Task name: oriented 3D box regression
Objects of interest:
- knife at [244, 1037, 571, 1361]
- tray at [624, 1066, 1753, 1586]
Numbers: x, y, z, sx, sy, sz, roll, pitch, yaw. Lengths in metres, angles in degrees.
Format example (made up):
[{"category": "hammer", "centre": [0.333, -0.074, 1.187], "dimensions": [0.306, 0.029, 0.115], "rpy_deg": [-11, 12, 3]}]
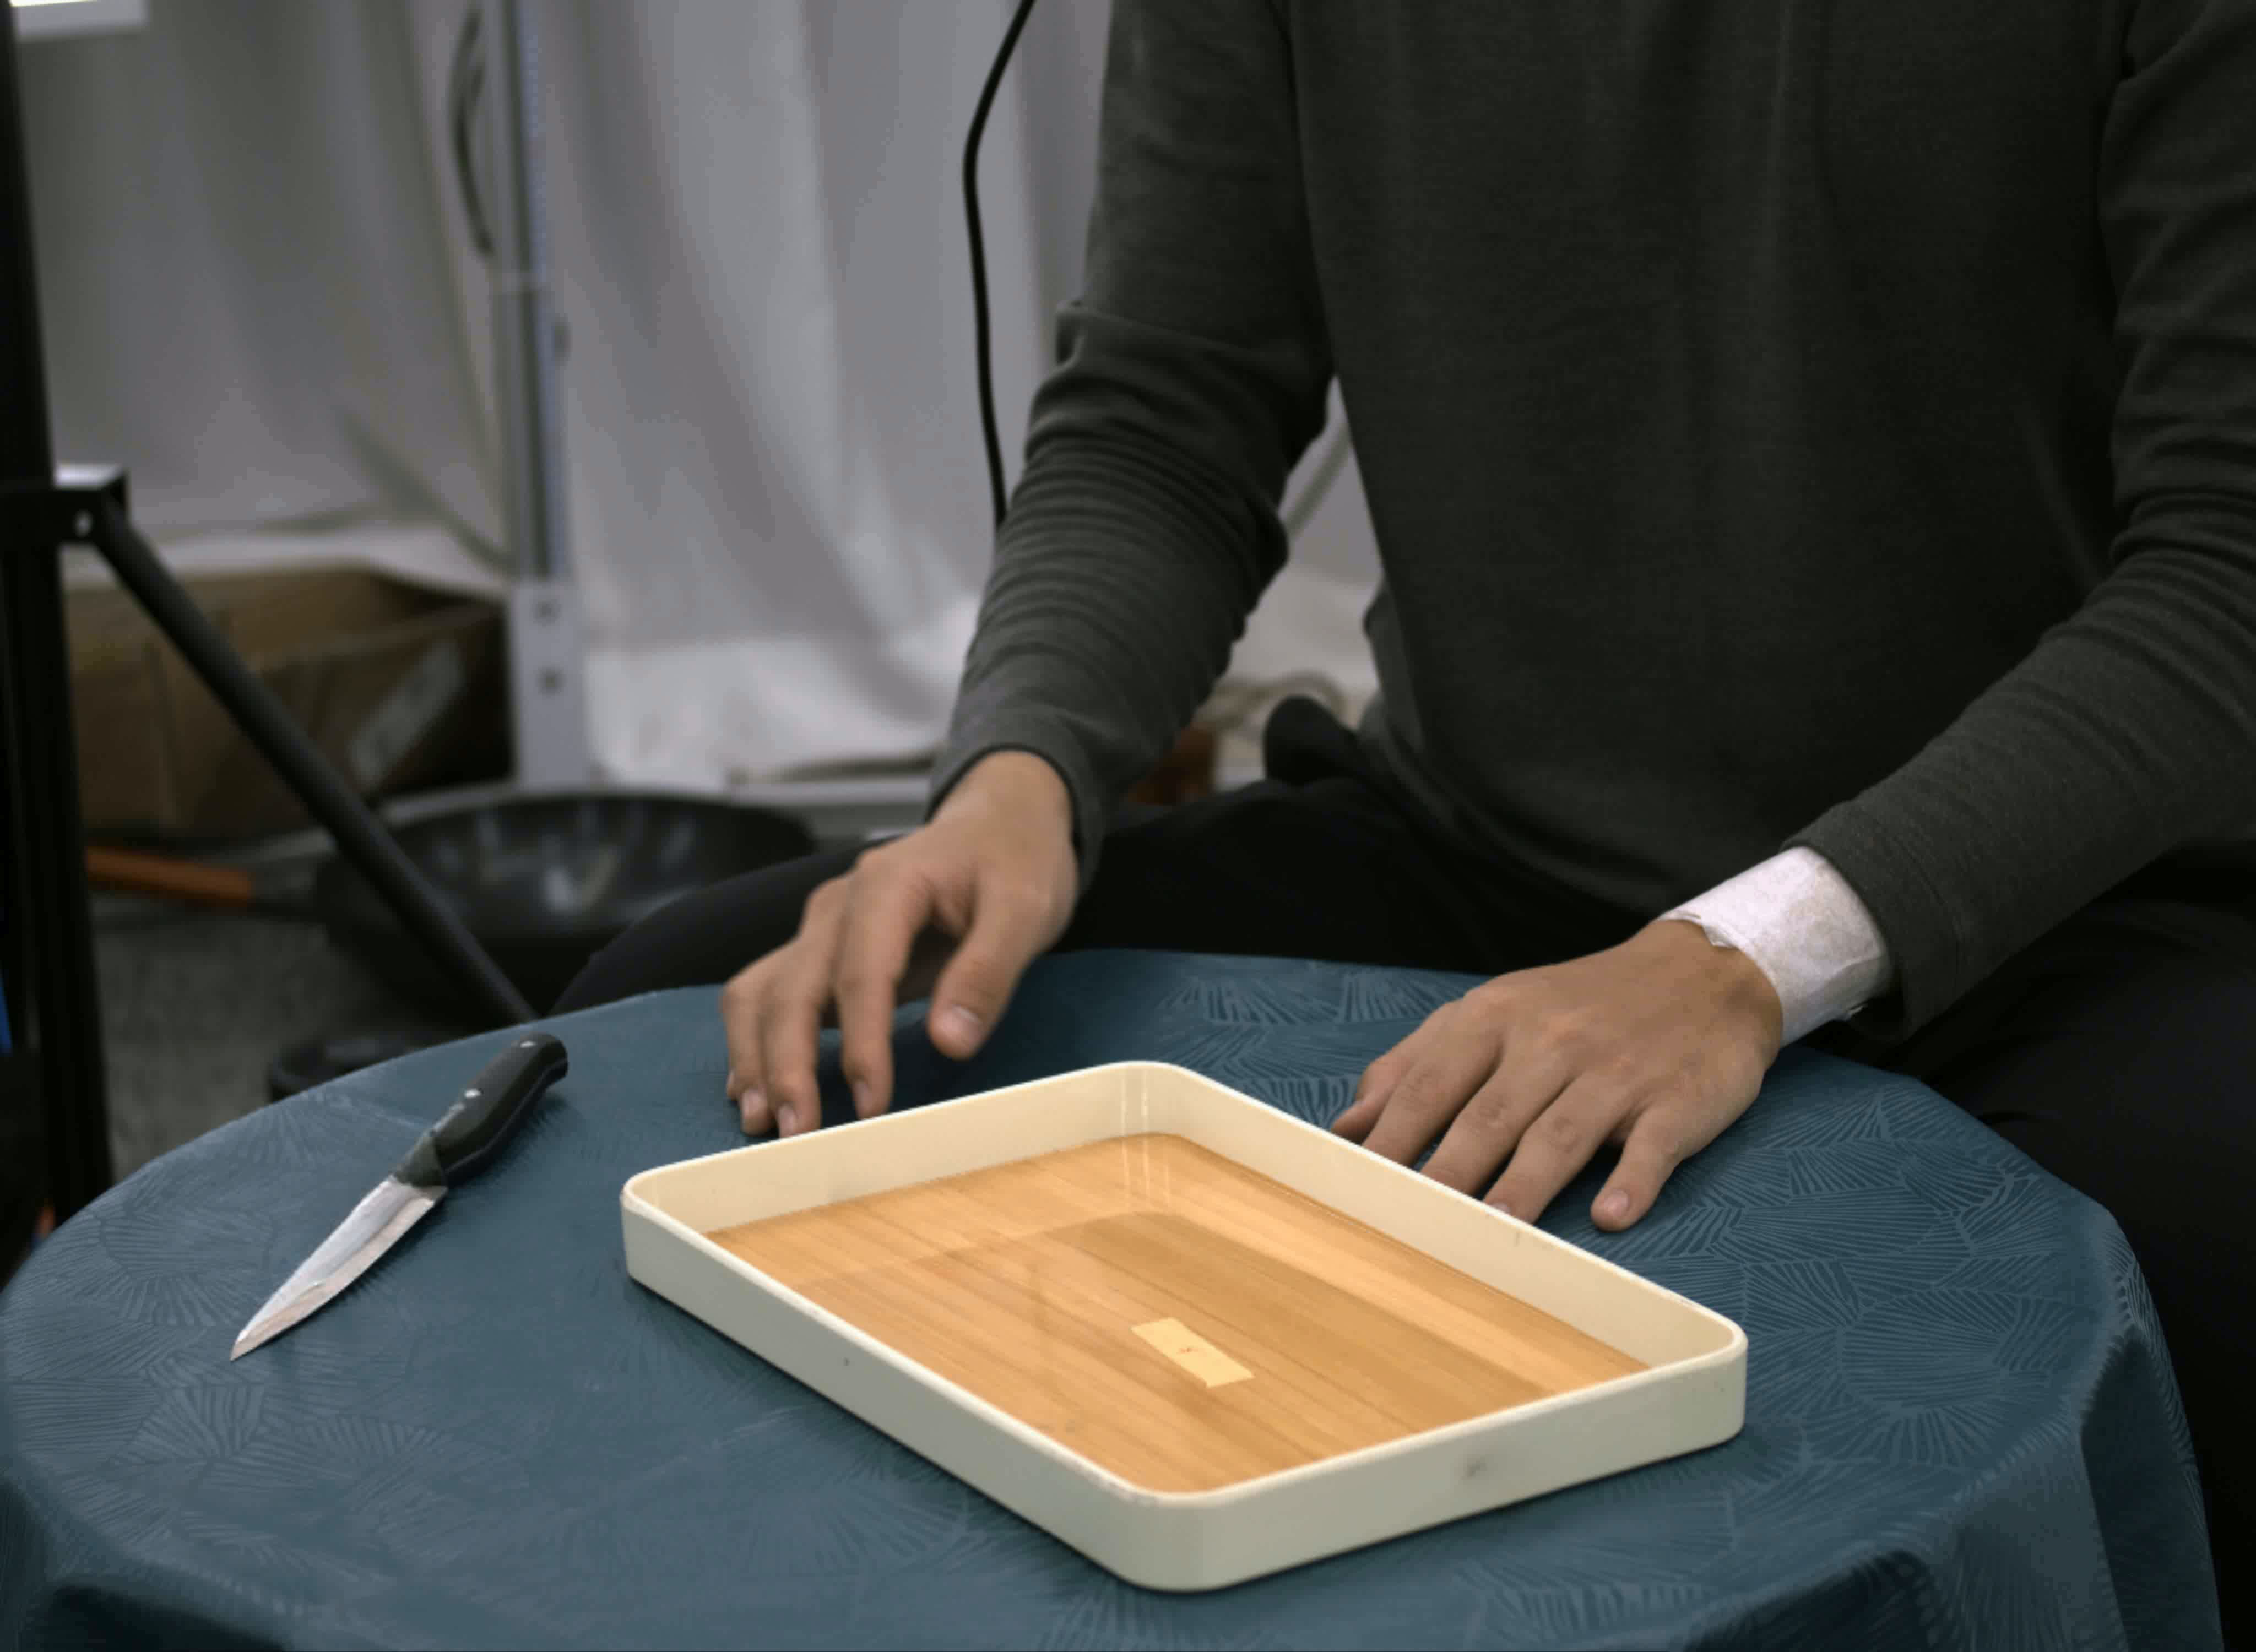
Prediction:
[{"category": "knife", "centre": [-0.213, 0.109, 1.571], "dimensions": [0.024, 0.016, 0.236], "rpy_deg": [0, 18, 15]}, {"category": "tray", "centre": [0.010, 0.129, 1.438], "dimensions": [0.187, 0.027, 0.307], "rpy_deg": [-10, 18, -29]}]
